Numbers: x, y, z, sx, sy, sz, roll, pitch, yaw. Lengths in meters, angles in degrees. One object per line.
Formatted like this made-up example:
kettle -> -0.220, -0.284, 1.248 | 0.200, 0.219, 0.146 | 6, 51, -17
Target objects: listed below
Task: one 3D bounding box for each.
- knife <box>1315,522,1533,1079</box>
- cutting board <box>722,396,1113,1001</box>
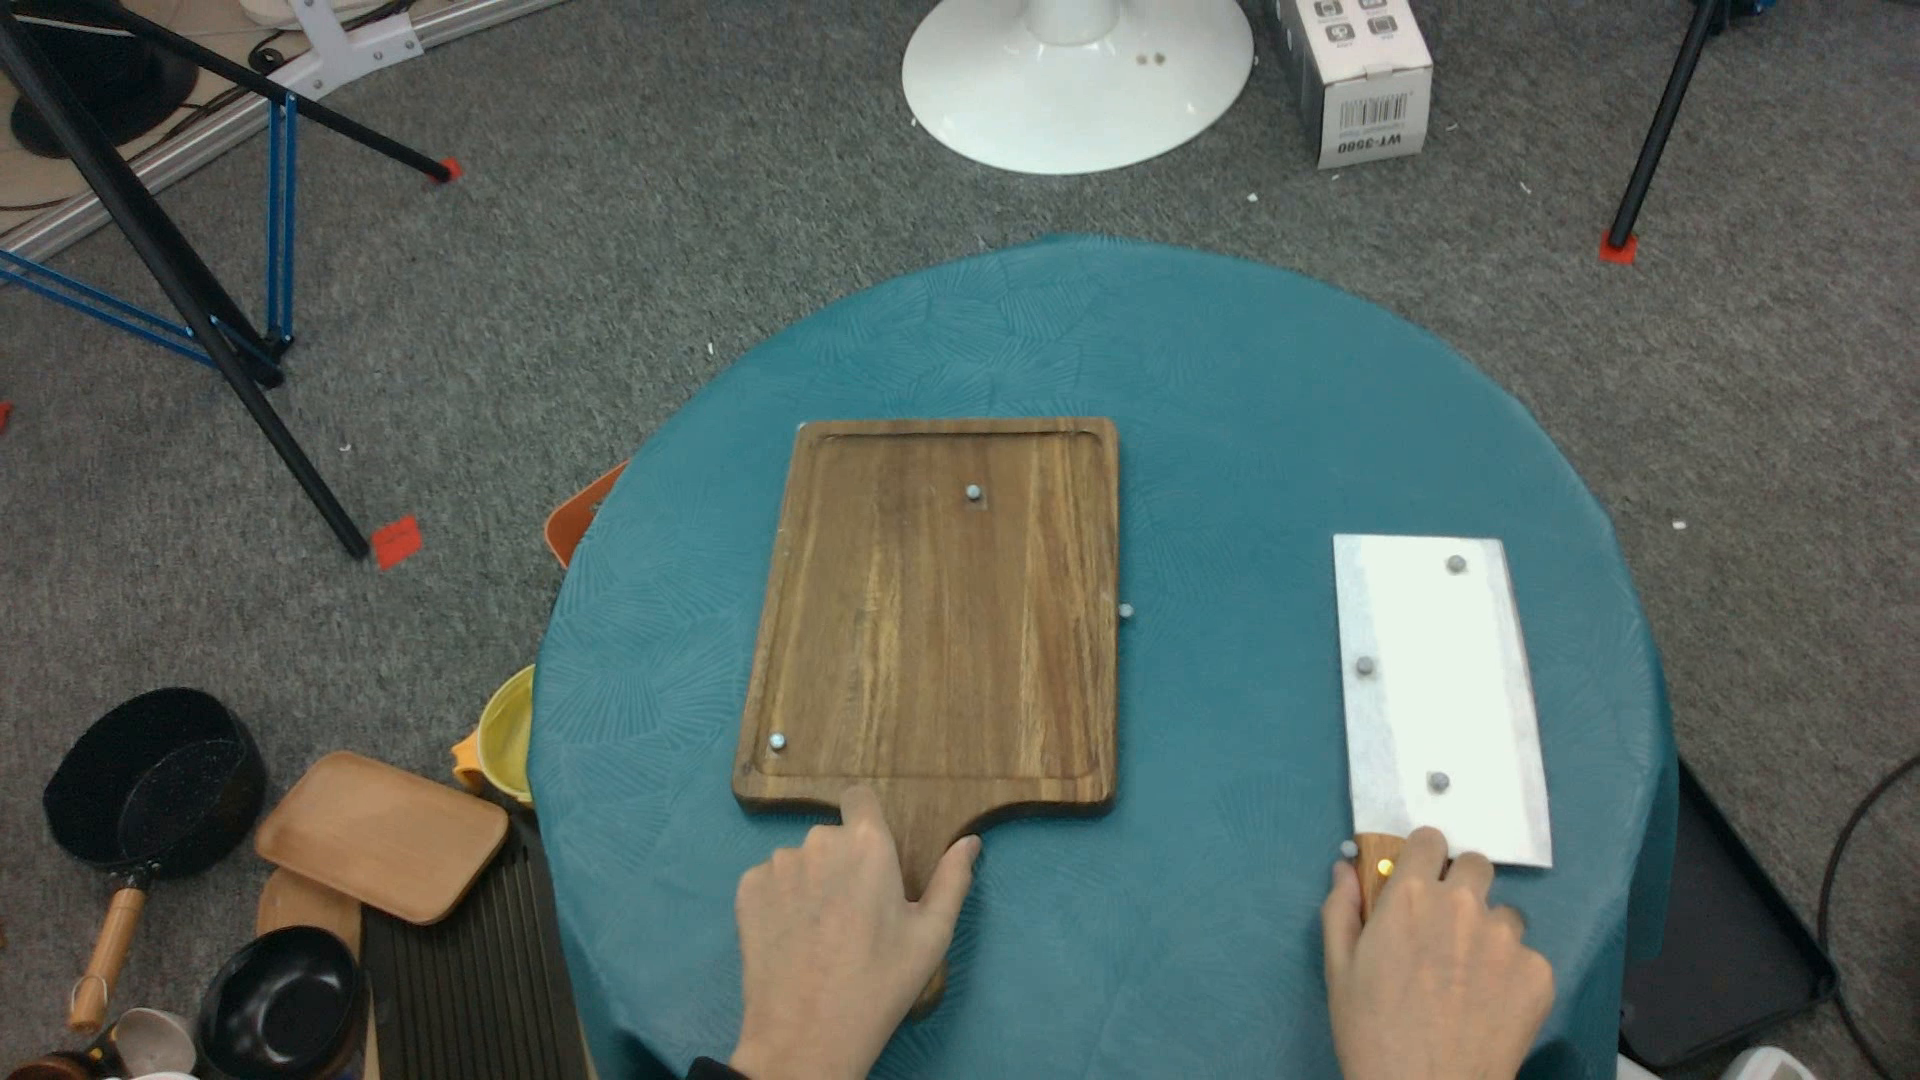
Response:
knife -> 0.228, 0.111, 0.673 | 0.093, 0.021, 0.307 | 2, 52, 6
cutting board -> -0.022, 0.065, 0.732 | 0.201, 0.023, 0.354 | -2, 54, 5
